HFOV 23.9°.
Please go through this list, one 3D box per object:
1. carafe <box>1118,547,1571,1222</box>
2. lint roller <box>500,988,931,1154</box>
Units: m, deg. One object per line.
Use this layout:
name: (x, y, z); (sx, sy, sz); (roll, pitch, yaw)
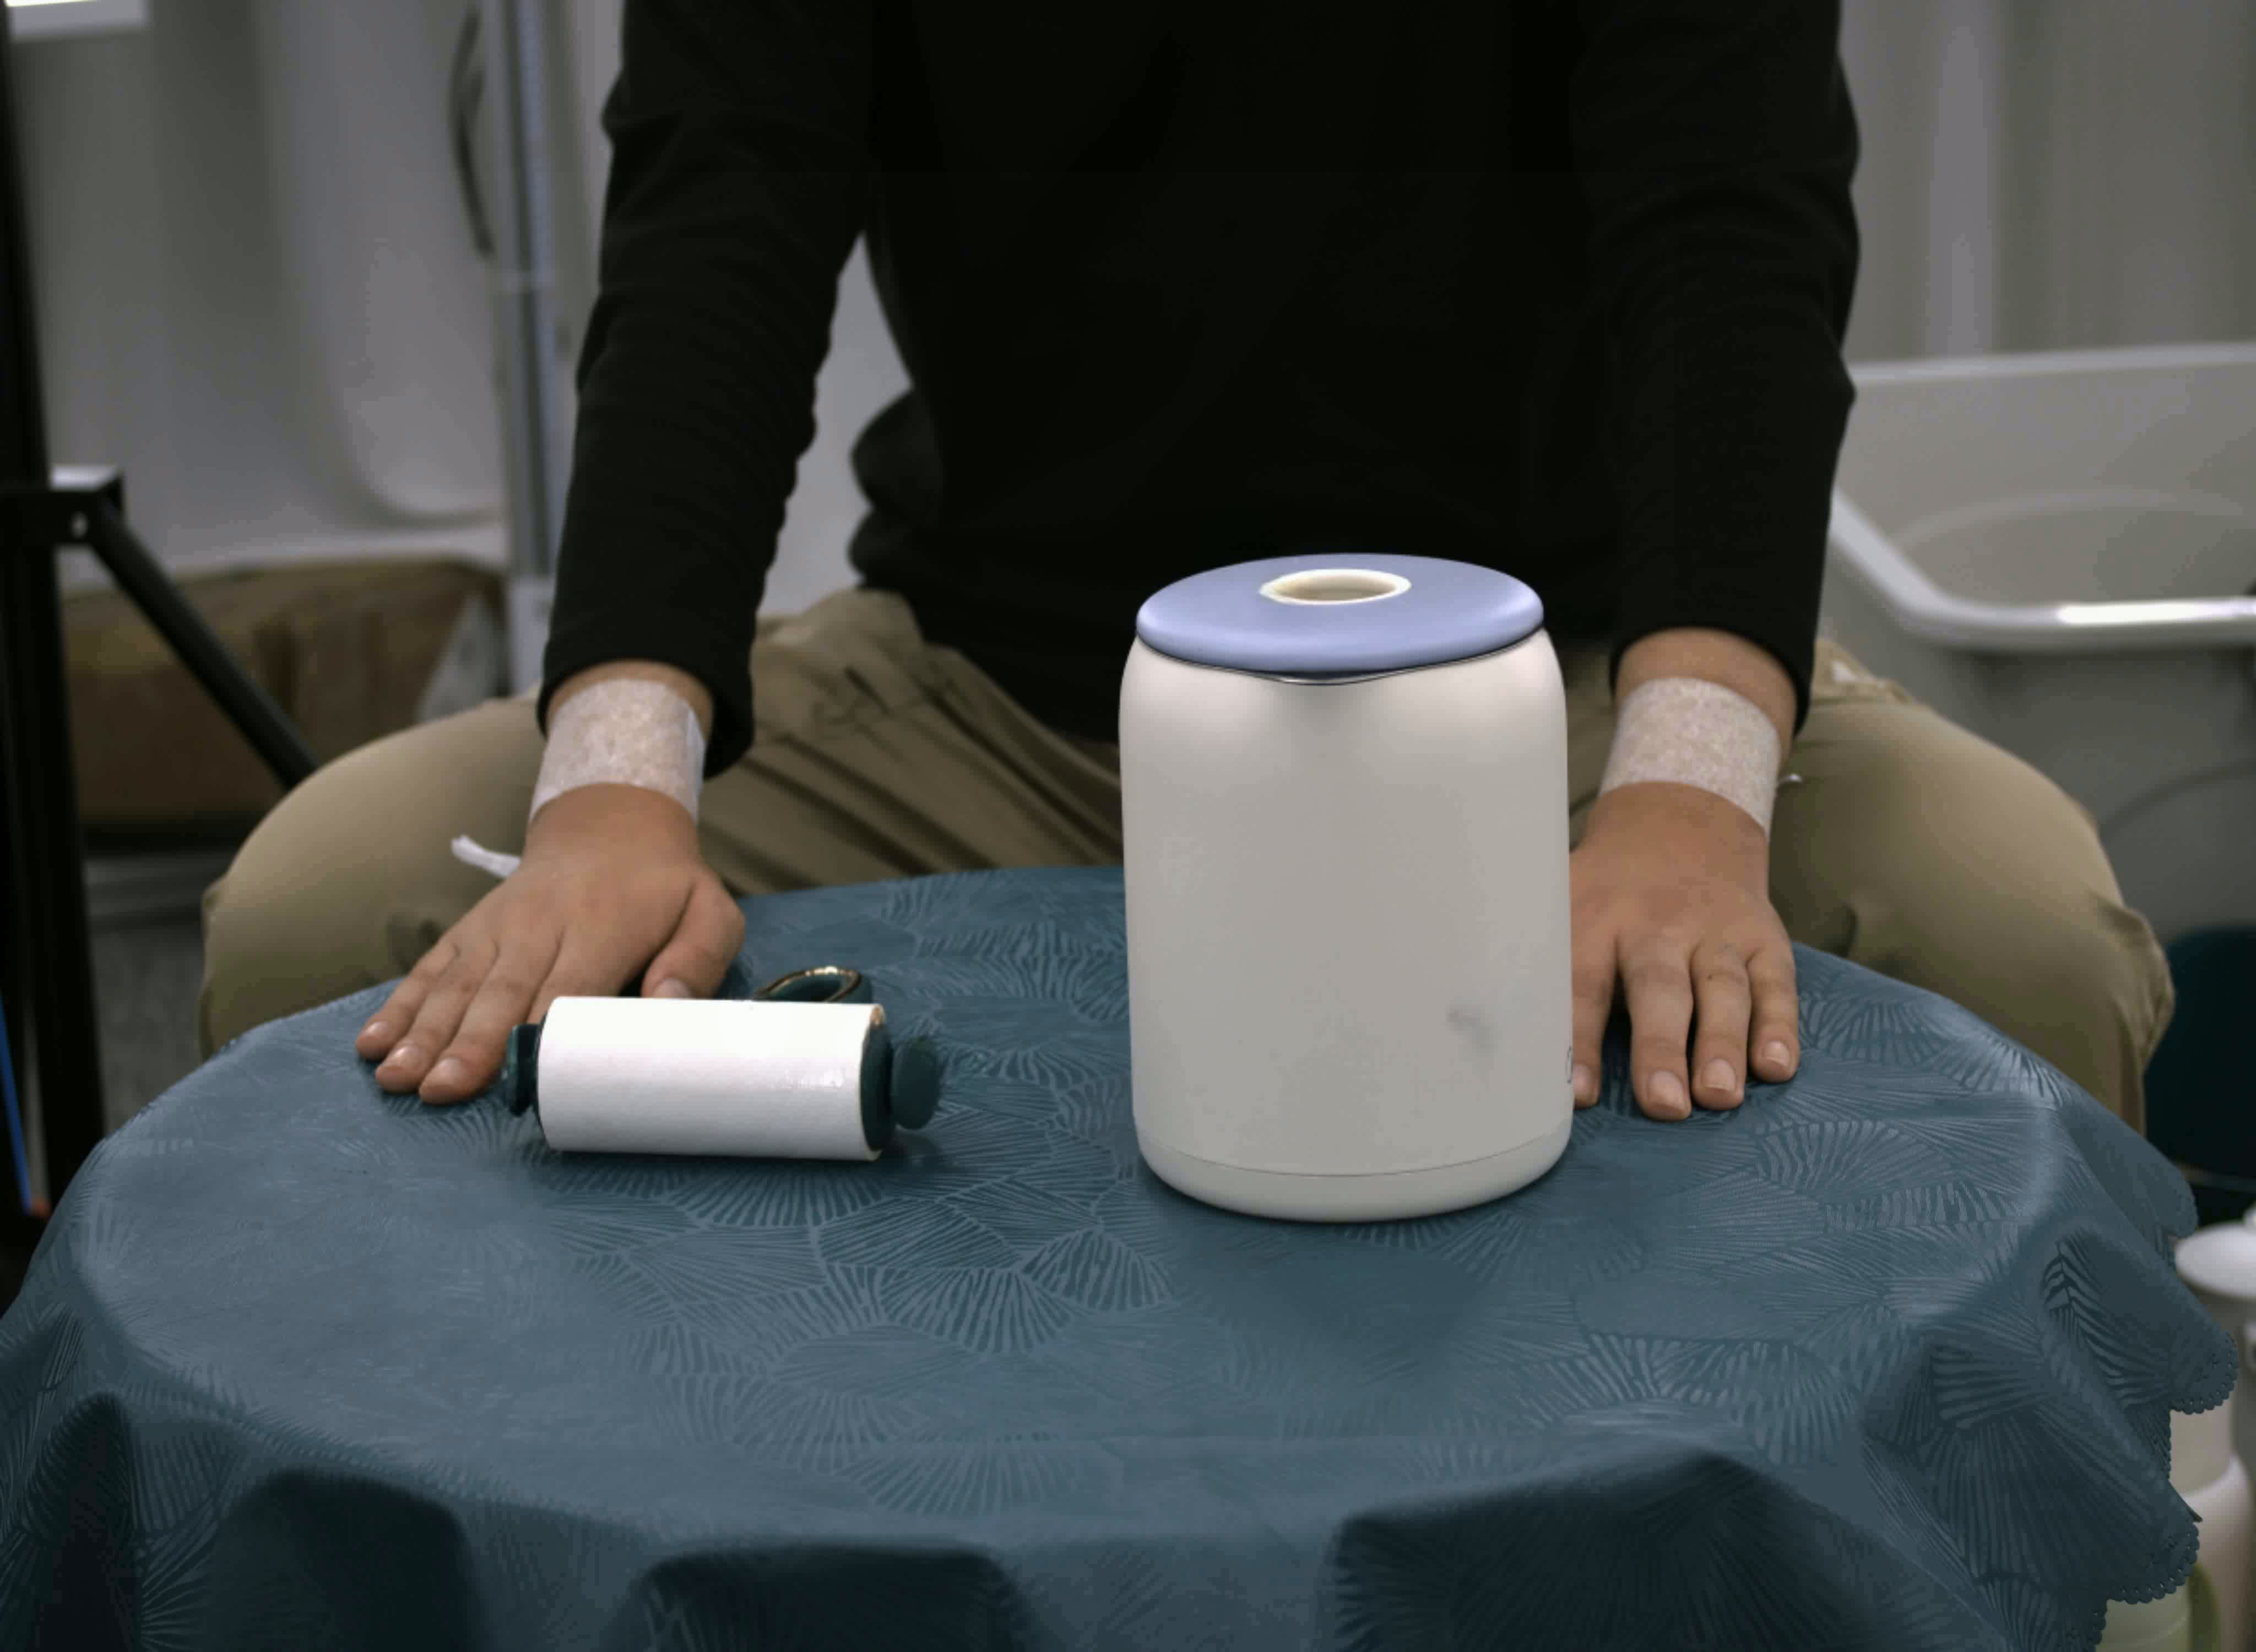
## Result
carafe: (0.066, 0.010, 1.578); (0.132, 0.182, 0.191); (0, 13, 5)
lint roller: (-0.113, 0.060, 1.669); (0.135, 0.048, 0.179); (1, 13, 11)
